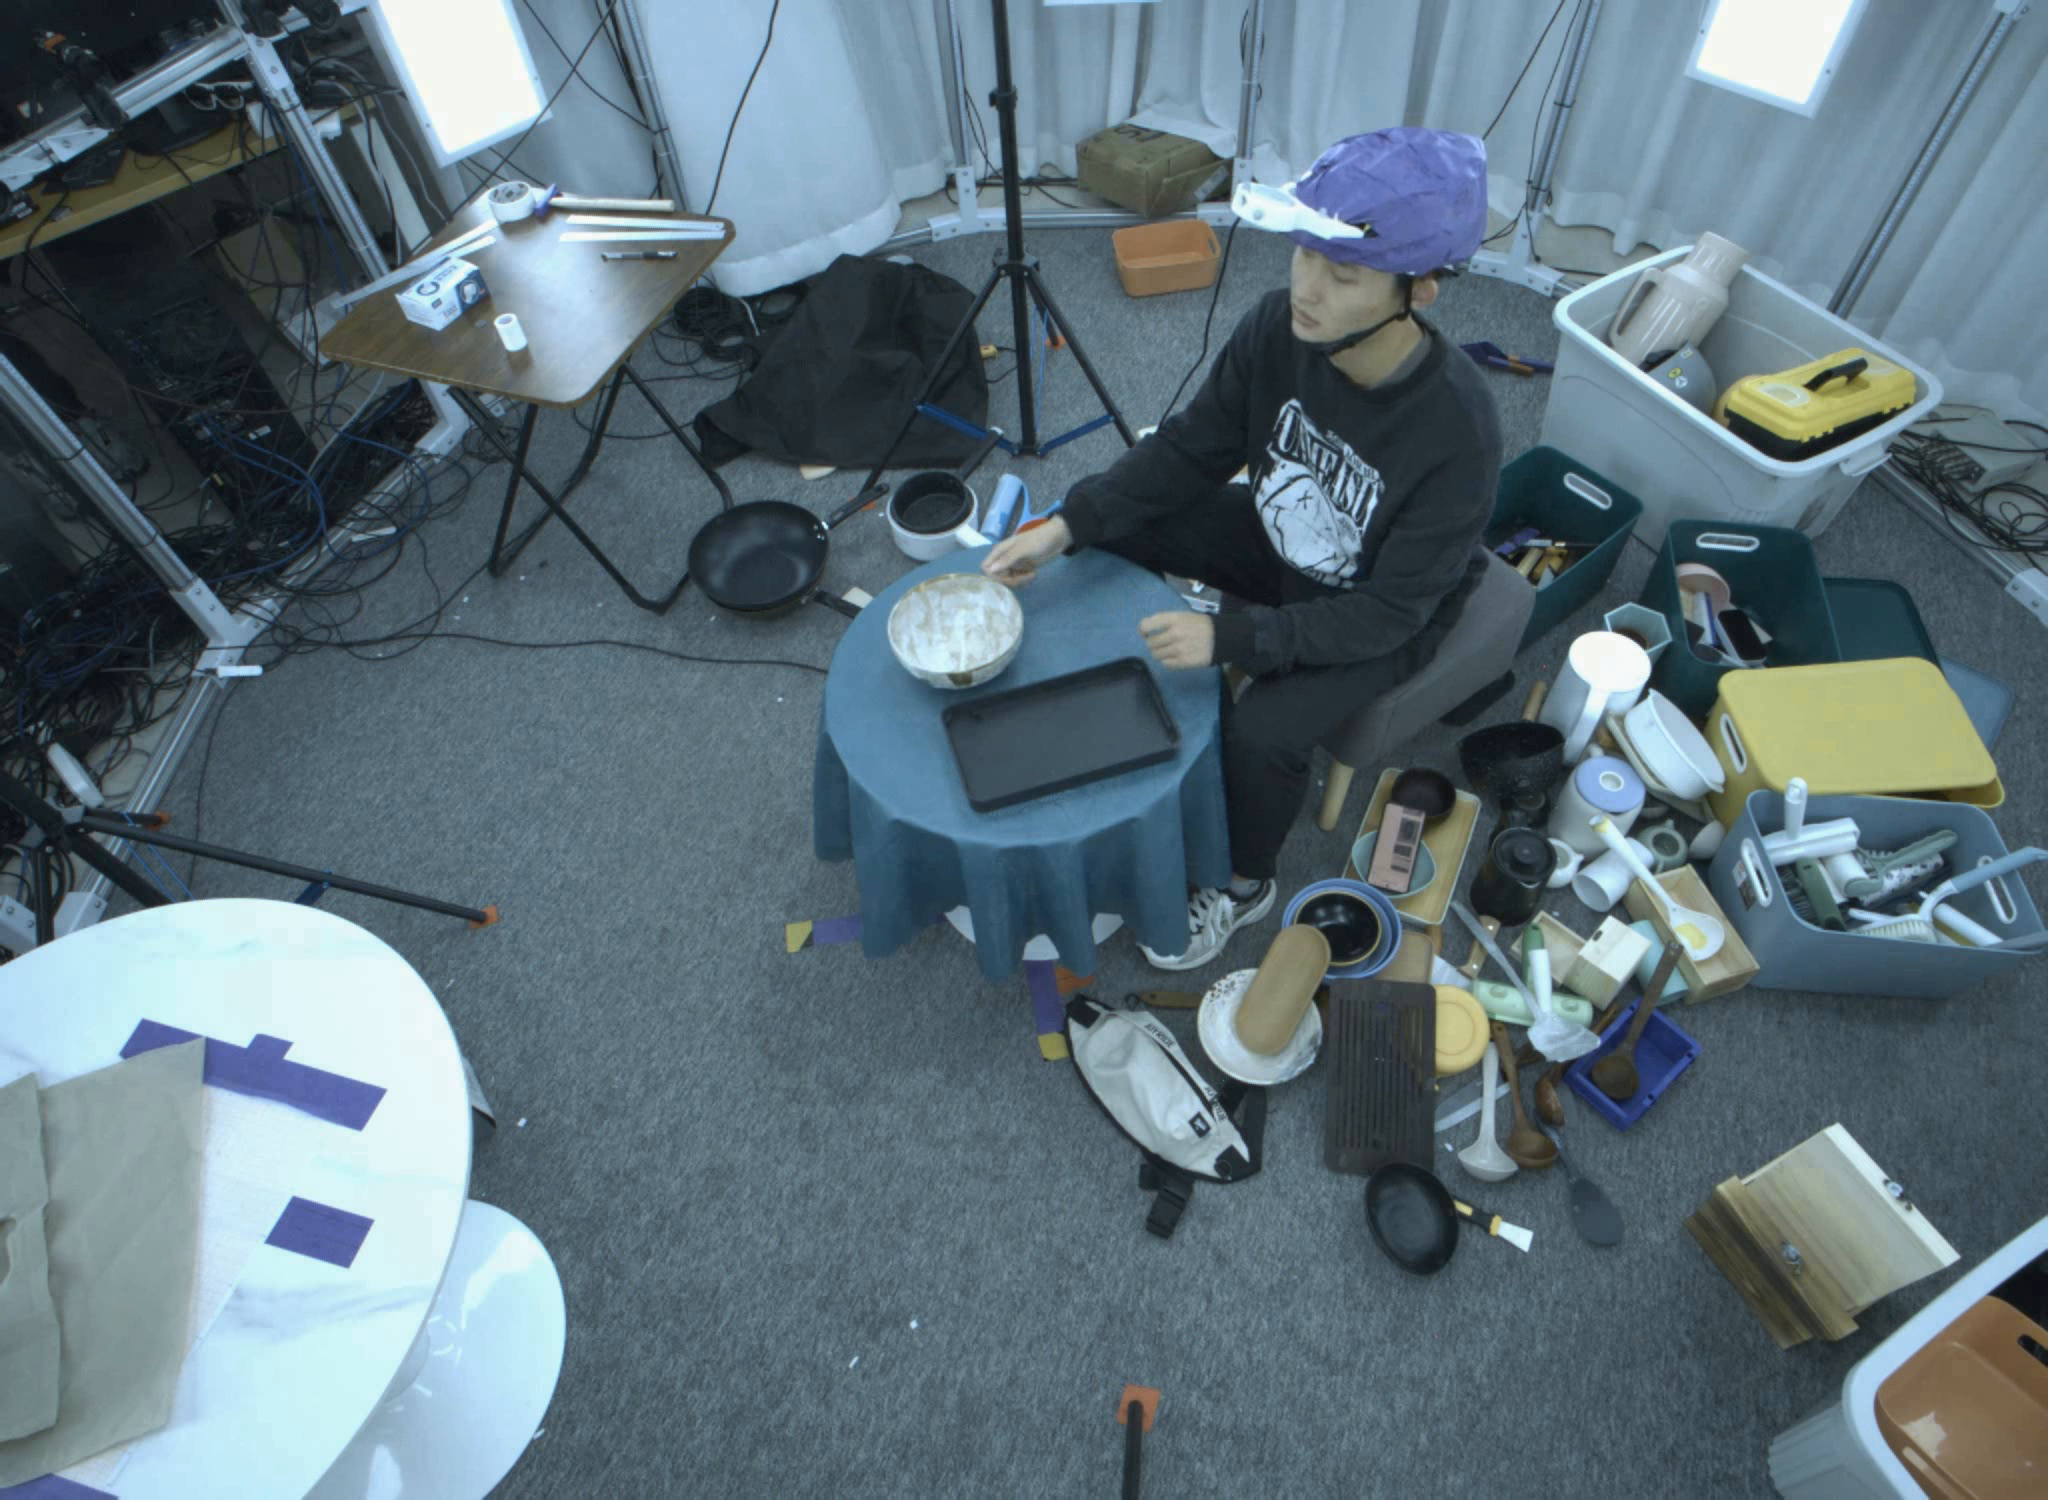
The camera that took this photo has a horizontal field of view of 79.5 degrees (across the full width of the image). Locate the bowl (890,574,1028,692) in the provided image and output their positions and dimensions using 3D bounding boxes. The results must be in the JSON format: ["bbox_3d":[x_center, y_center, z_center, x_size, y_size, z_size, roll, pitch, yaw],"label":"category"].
[{"bbox_3d":[-0.093,-0.160,1.857,0.214,0.095,0.212,-1,54,2],"label":"bowl"}]

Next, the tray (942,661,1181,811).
[{"bbox_3d":[0.052,-0.023,1.787,0.320,0.037,0.181,-13,54,-10],"label":"tray"}]
